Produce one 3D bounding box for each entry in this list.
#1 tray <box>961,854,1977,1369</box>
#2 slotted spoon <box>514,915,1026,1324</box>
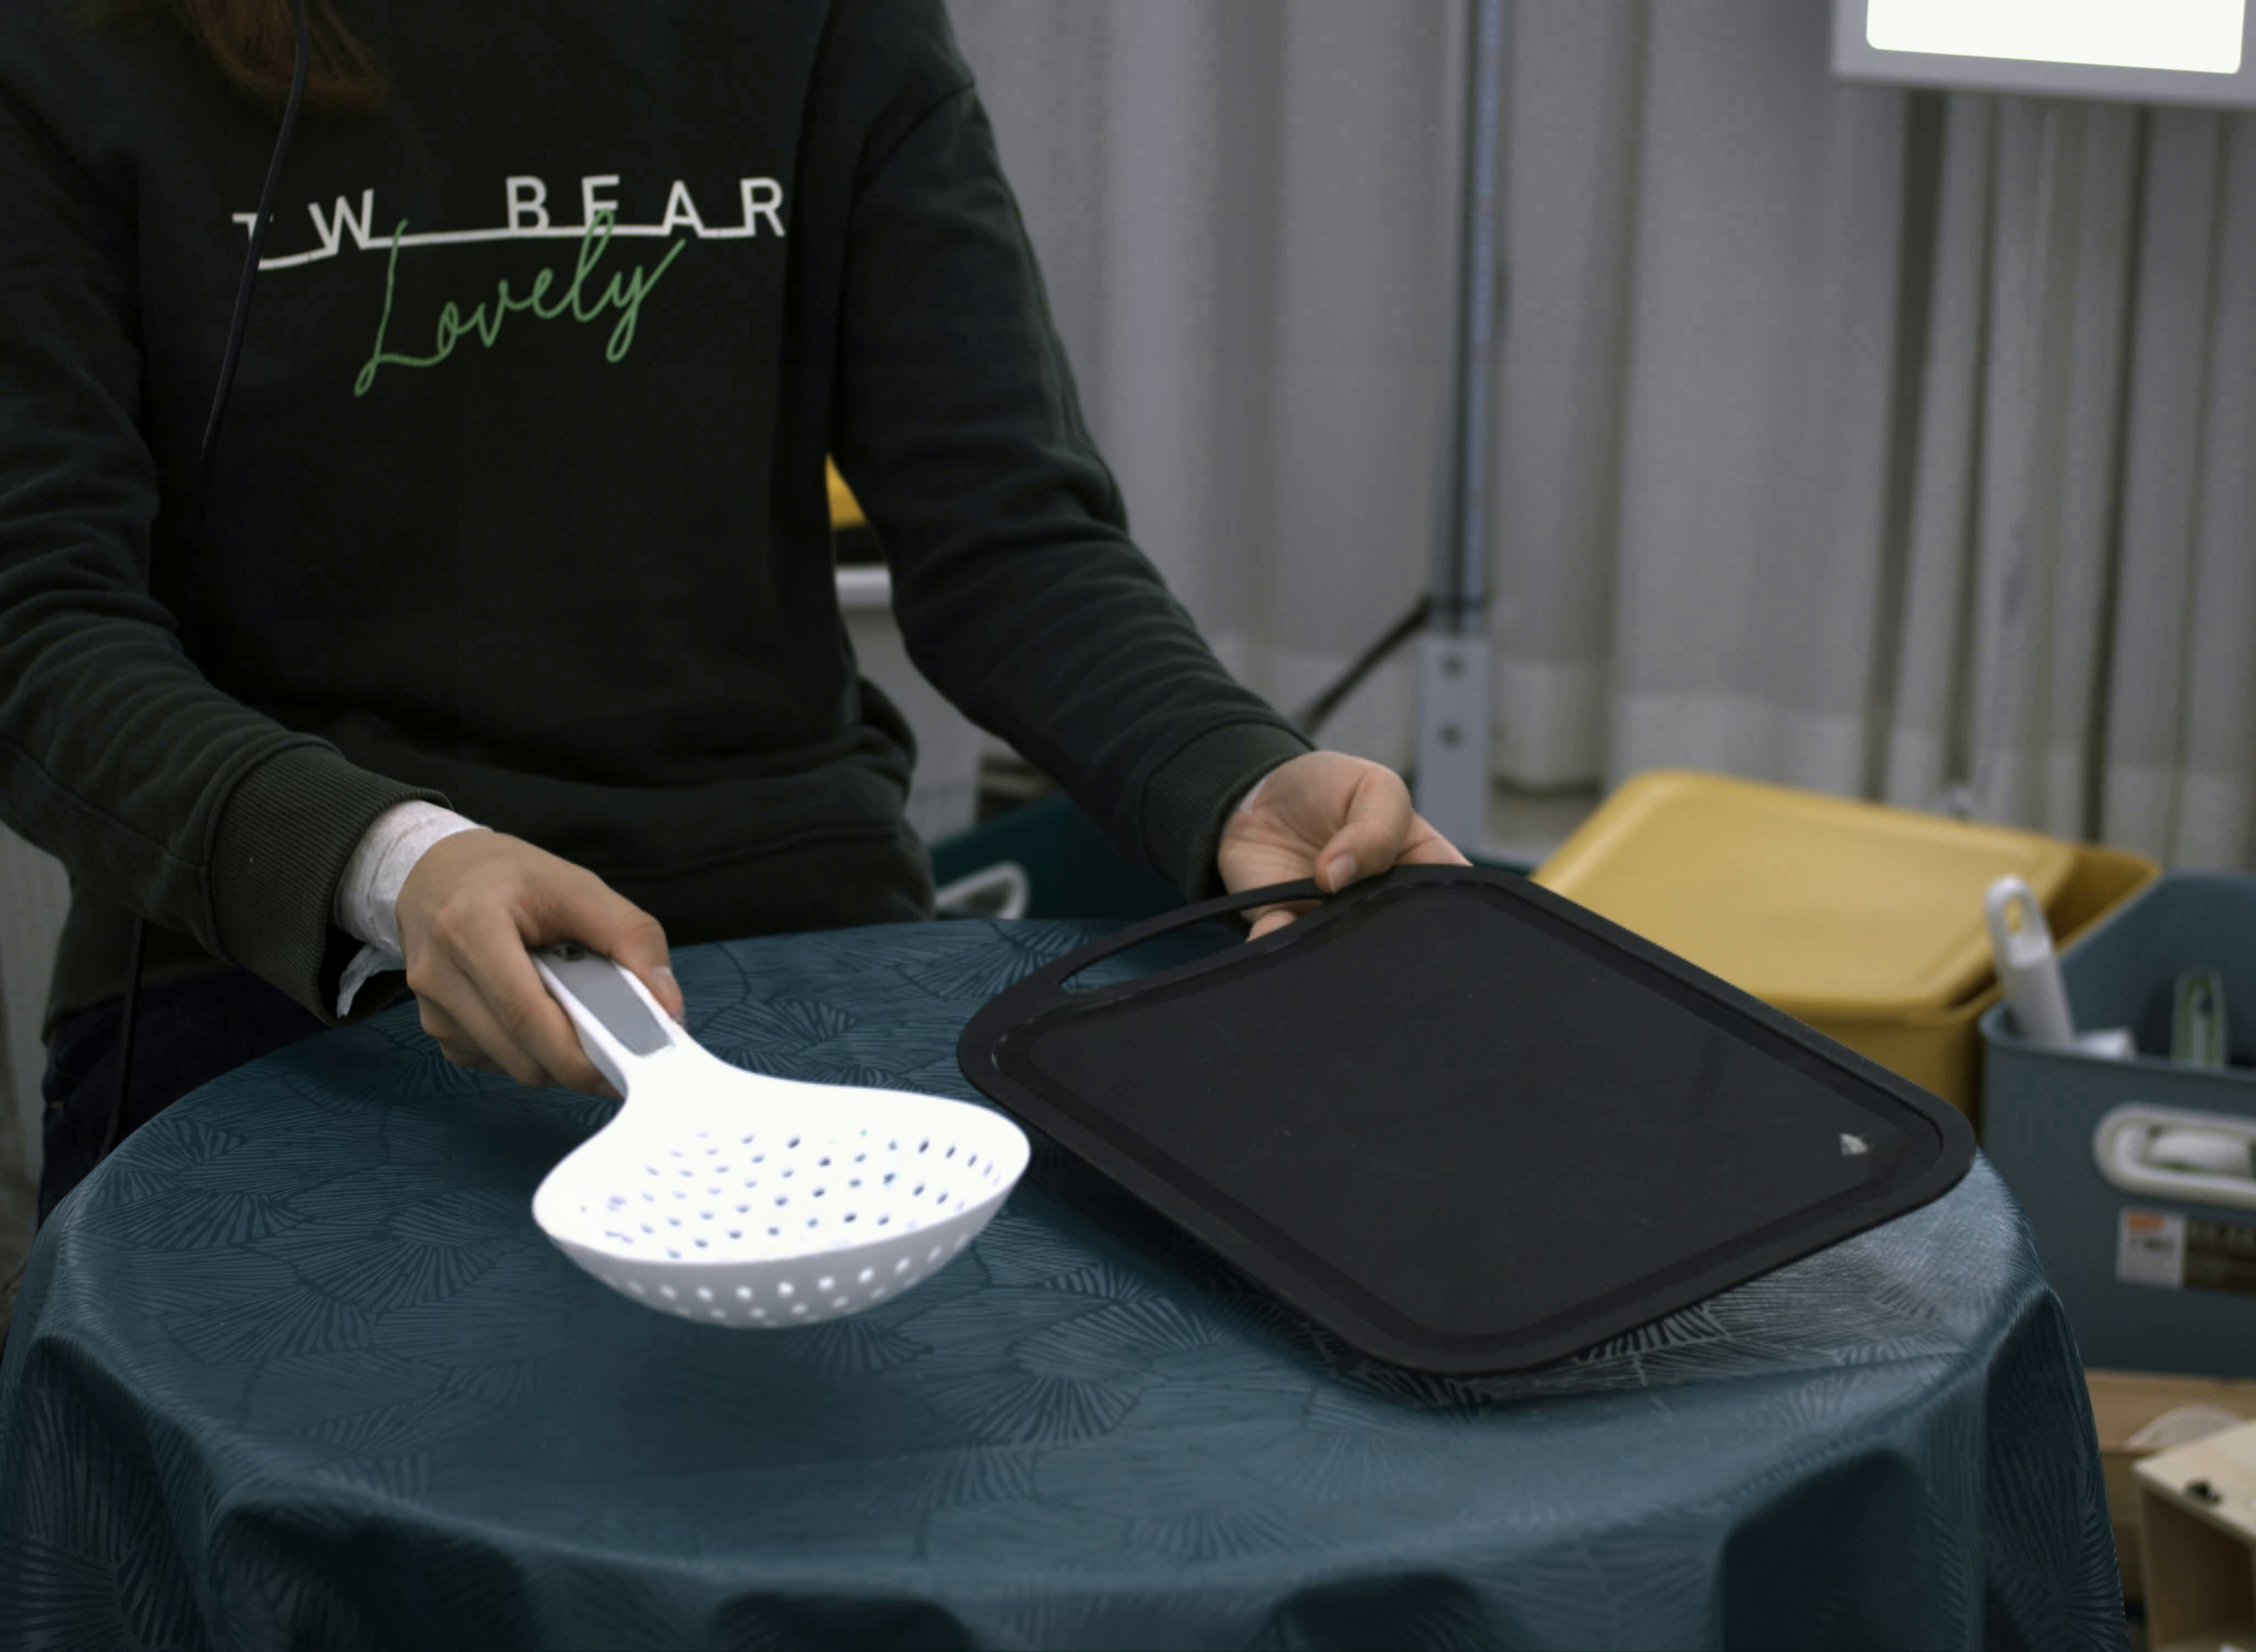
[{"bbox_3d":[0.092,0.076,1.601,0.211,0.010,0.321,-19,28,-26],"label":"tray"},{"bbox_3d":[-0.130,0.076,1.532,0.136,0.046,0.345,-9,21,-18],"label":"slotted spoon"}]
